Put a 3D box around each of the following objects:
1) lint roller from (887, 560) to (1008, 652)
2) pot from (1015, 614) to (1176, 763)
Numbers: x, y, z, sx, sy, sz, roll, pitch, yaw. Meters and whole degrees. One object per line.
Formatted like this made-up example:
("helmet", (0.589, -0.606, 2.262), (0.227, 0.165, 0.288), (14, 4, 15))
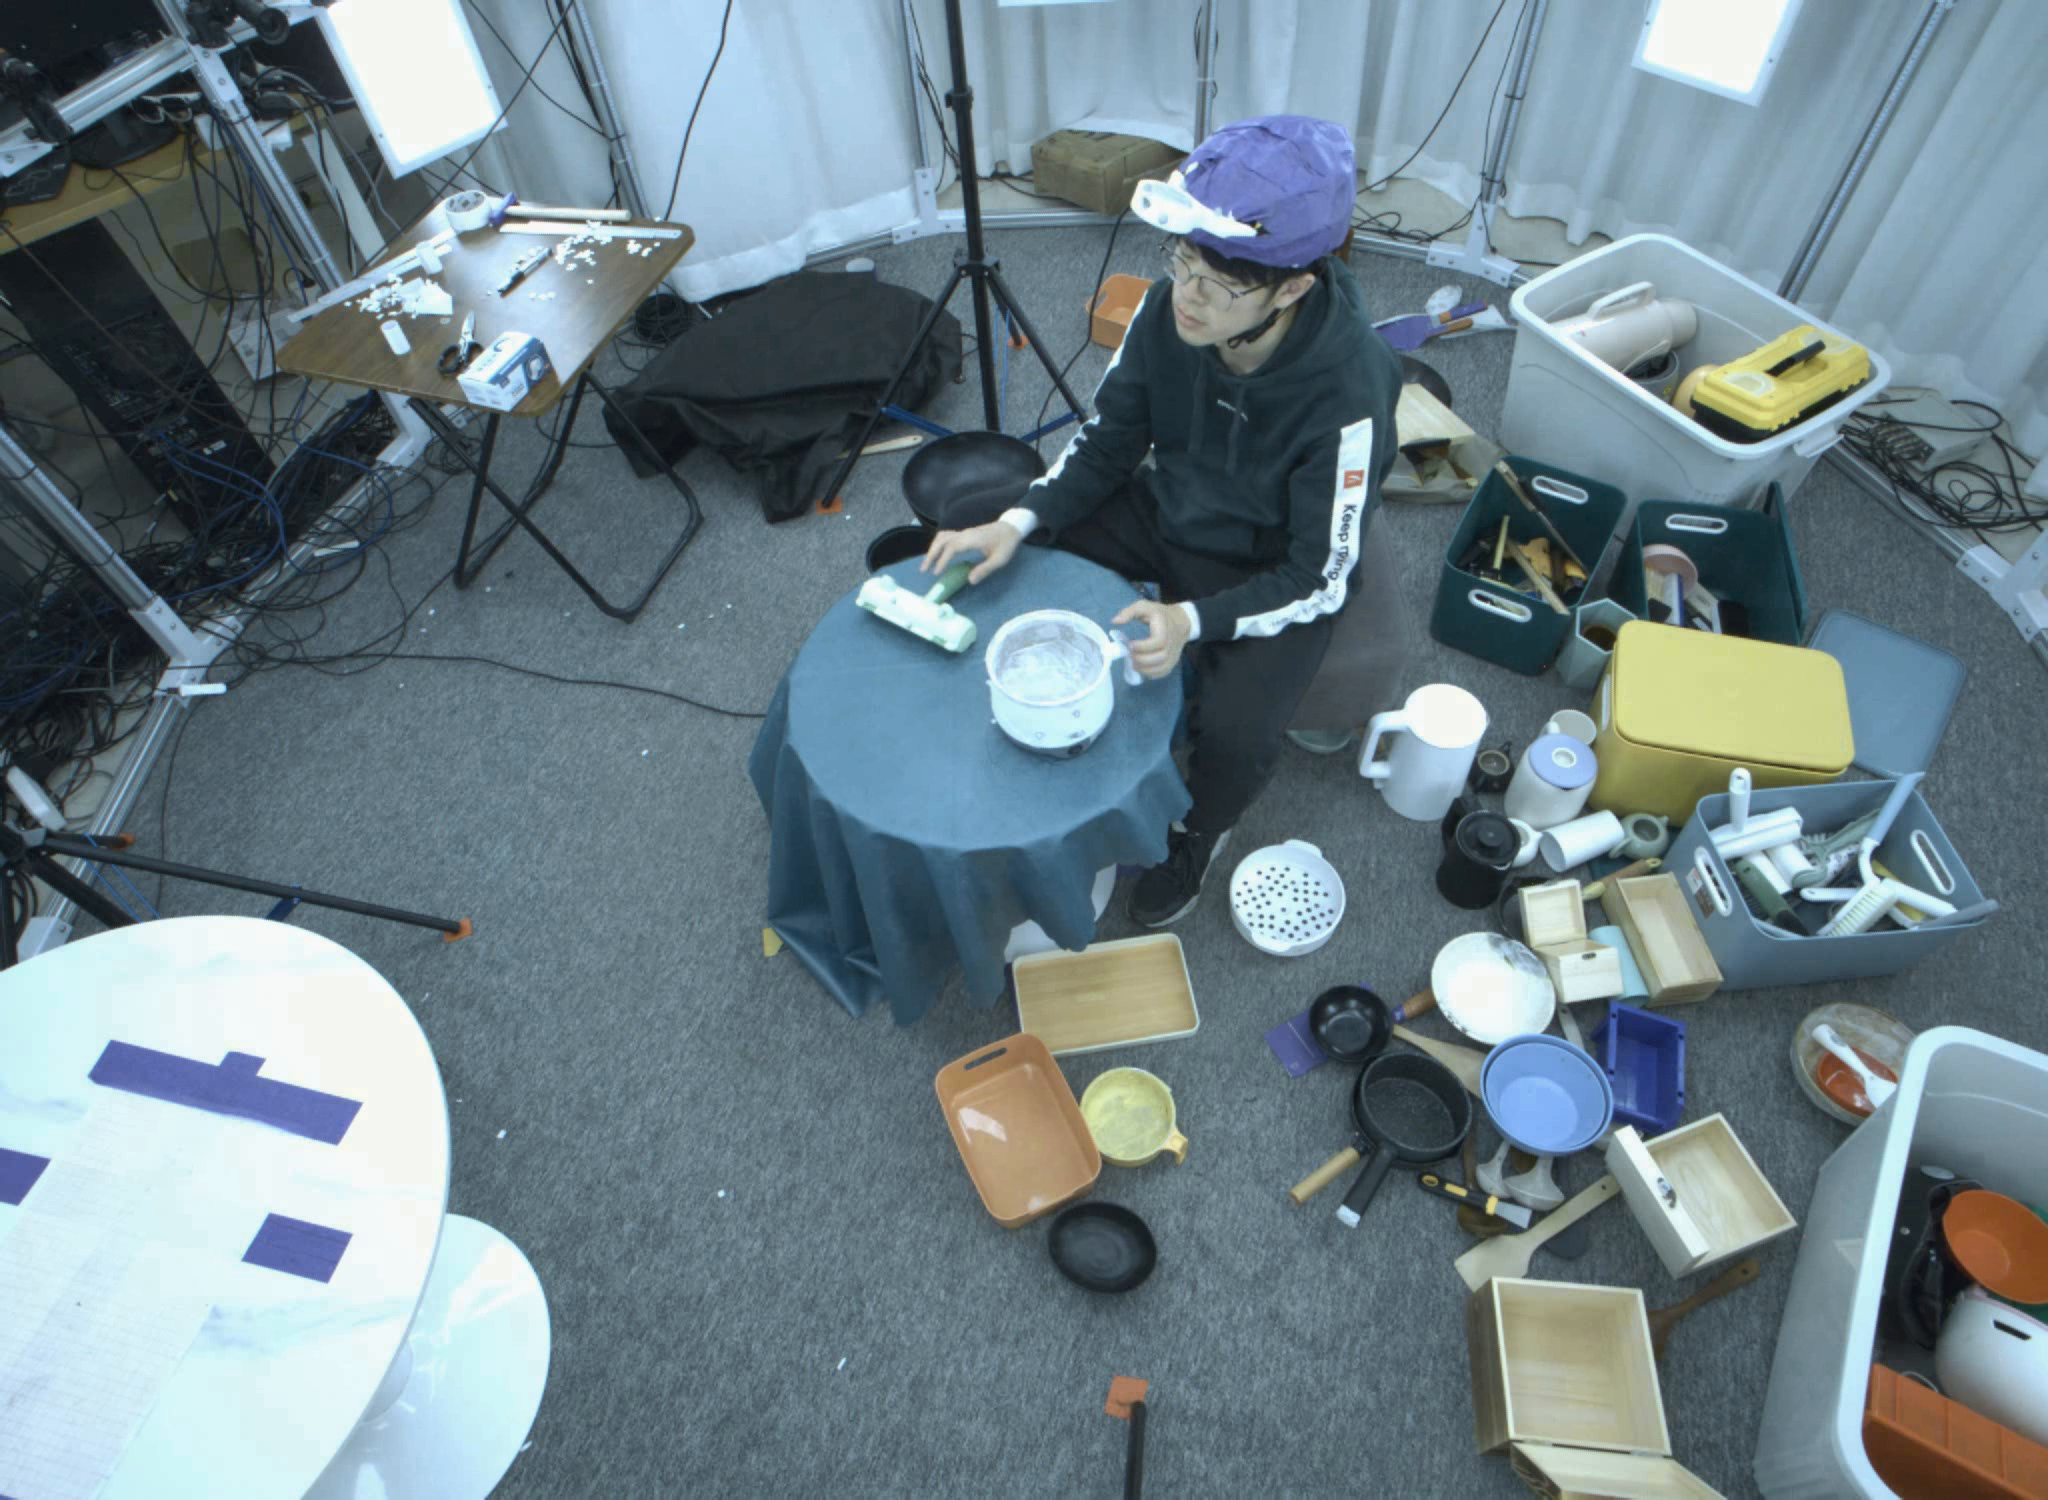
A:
("lint roller", (-0.088, -0.255, 1.921), (0.195, 0.083, 0.184), (29, 66, 21))
("pot", (0.106, -0.095, 1.762), (0.235, 0.138, 0.175), (-19, 56, -9))
